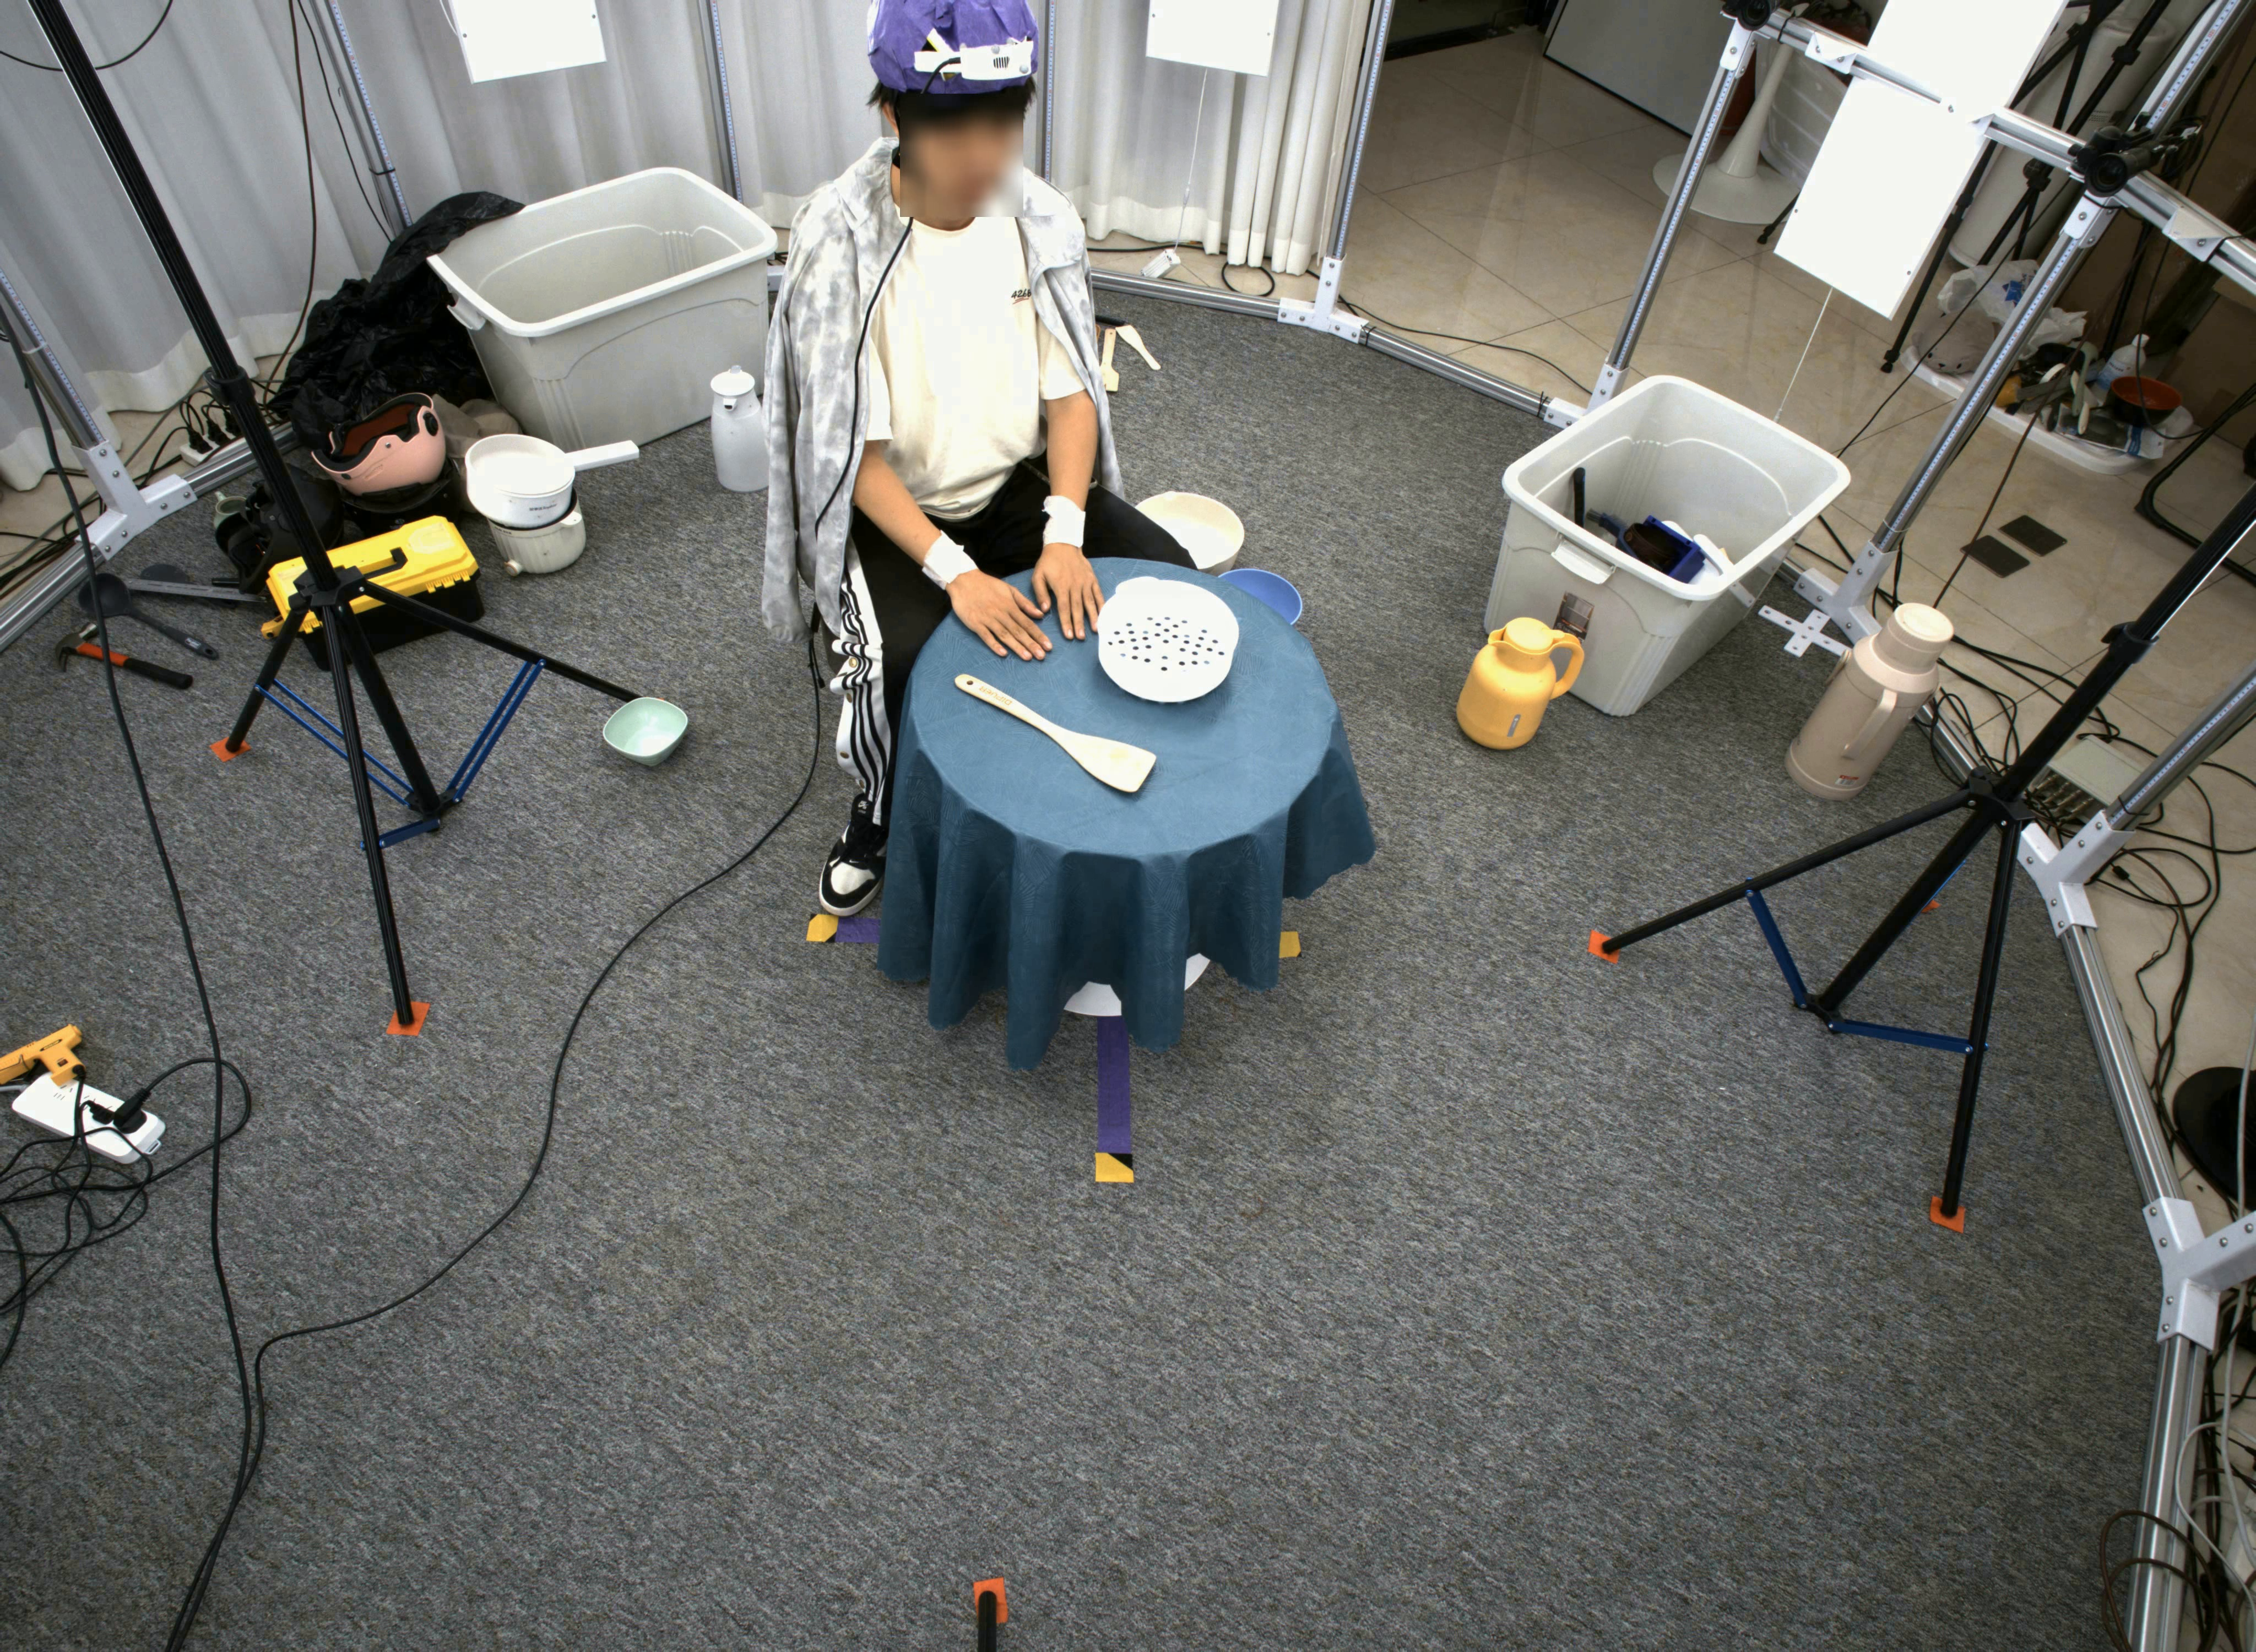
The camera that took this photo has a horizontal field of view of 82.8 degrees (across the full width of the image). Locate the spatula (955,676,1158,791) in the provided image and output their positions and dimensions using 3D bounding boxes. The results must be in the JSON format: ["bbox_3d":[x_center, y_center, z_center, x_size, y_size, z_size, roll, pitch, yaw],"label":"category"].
[{"bbox_3d":[-0.104,-0.137,1.760,0.331,0.016,0.081,29,52,20],"label":"spatula"}]

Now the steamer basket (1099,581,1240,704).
[{"bbox_3d":[0.058,-0.261,1.850,0.202,0.067,0.236,-17,51,-20],"label":"steamer basket"}]
